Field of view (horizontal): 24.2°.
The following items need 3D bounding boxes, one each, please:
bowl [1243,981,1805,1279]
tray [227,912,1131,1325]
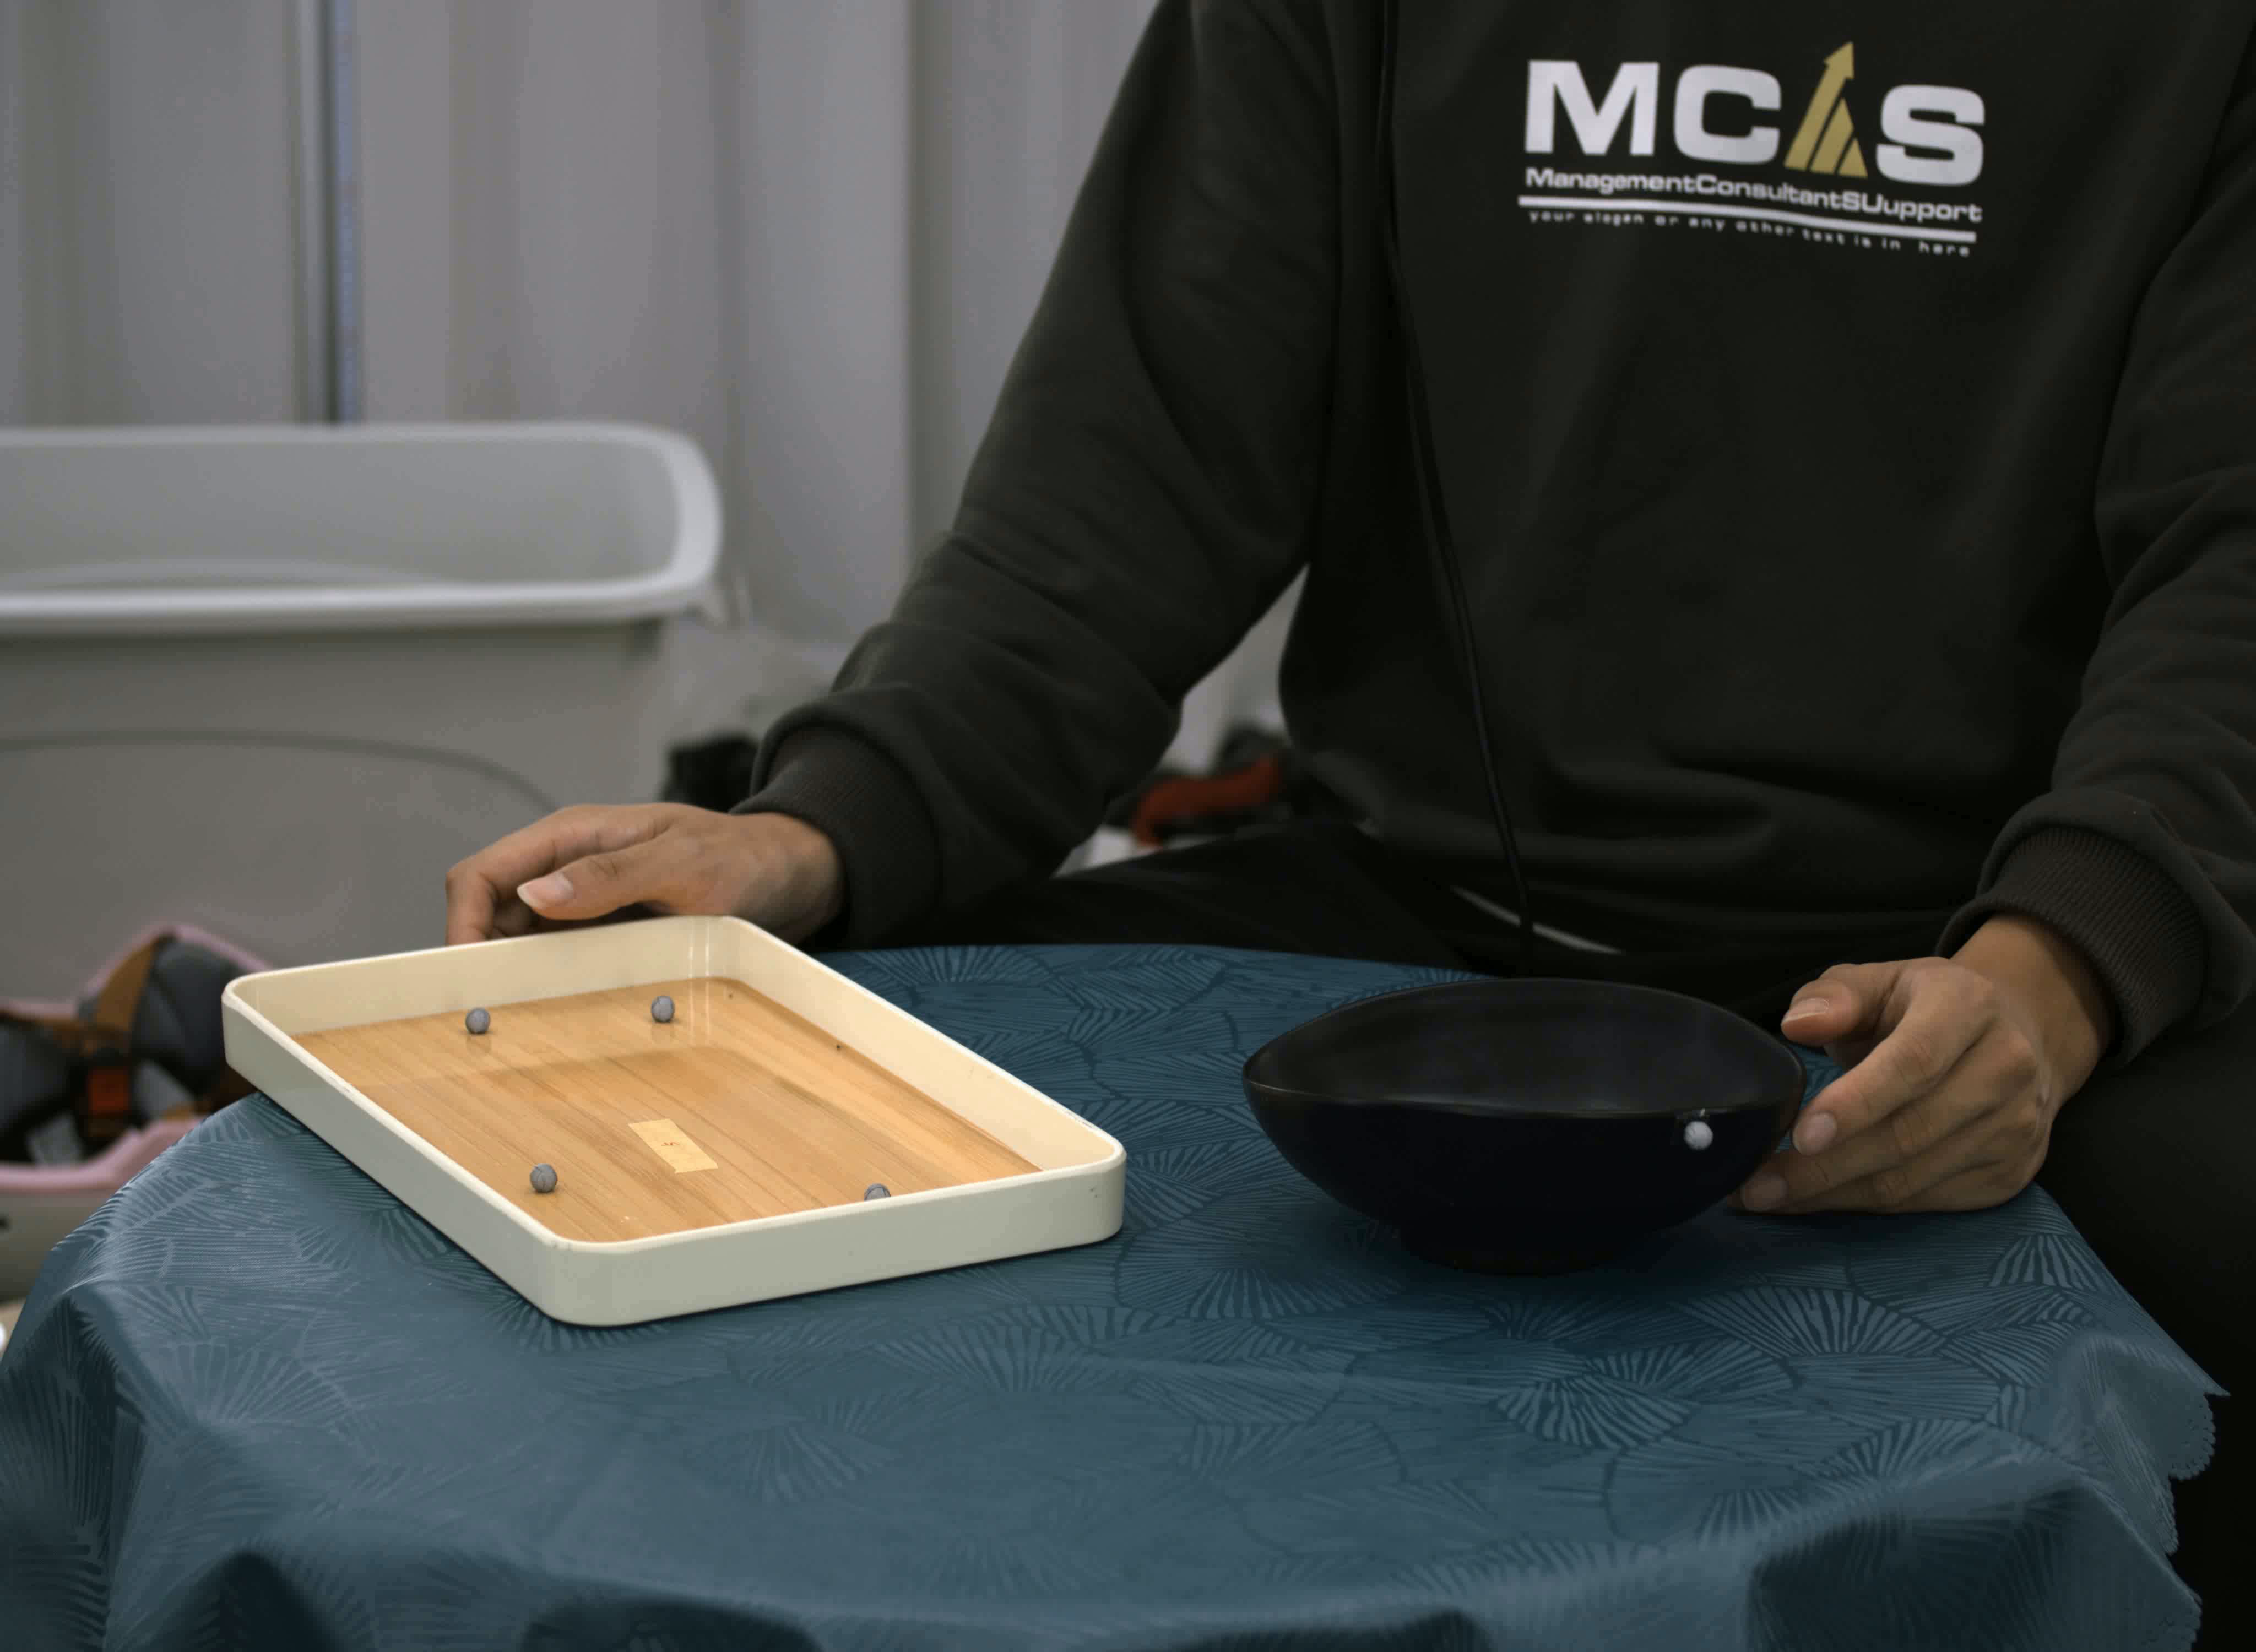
[{"bbox_3d":[0.118,0.096,1.584,0.169,0.067,0.137,2,14,10],"label":"bowl"},{"bbox_3d":[-0.147,0.087,1.662,0.192,0.027,0.296,-8,18,-29],"label":"tray"}]
